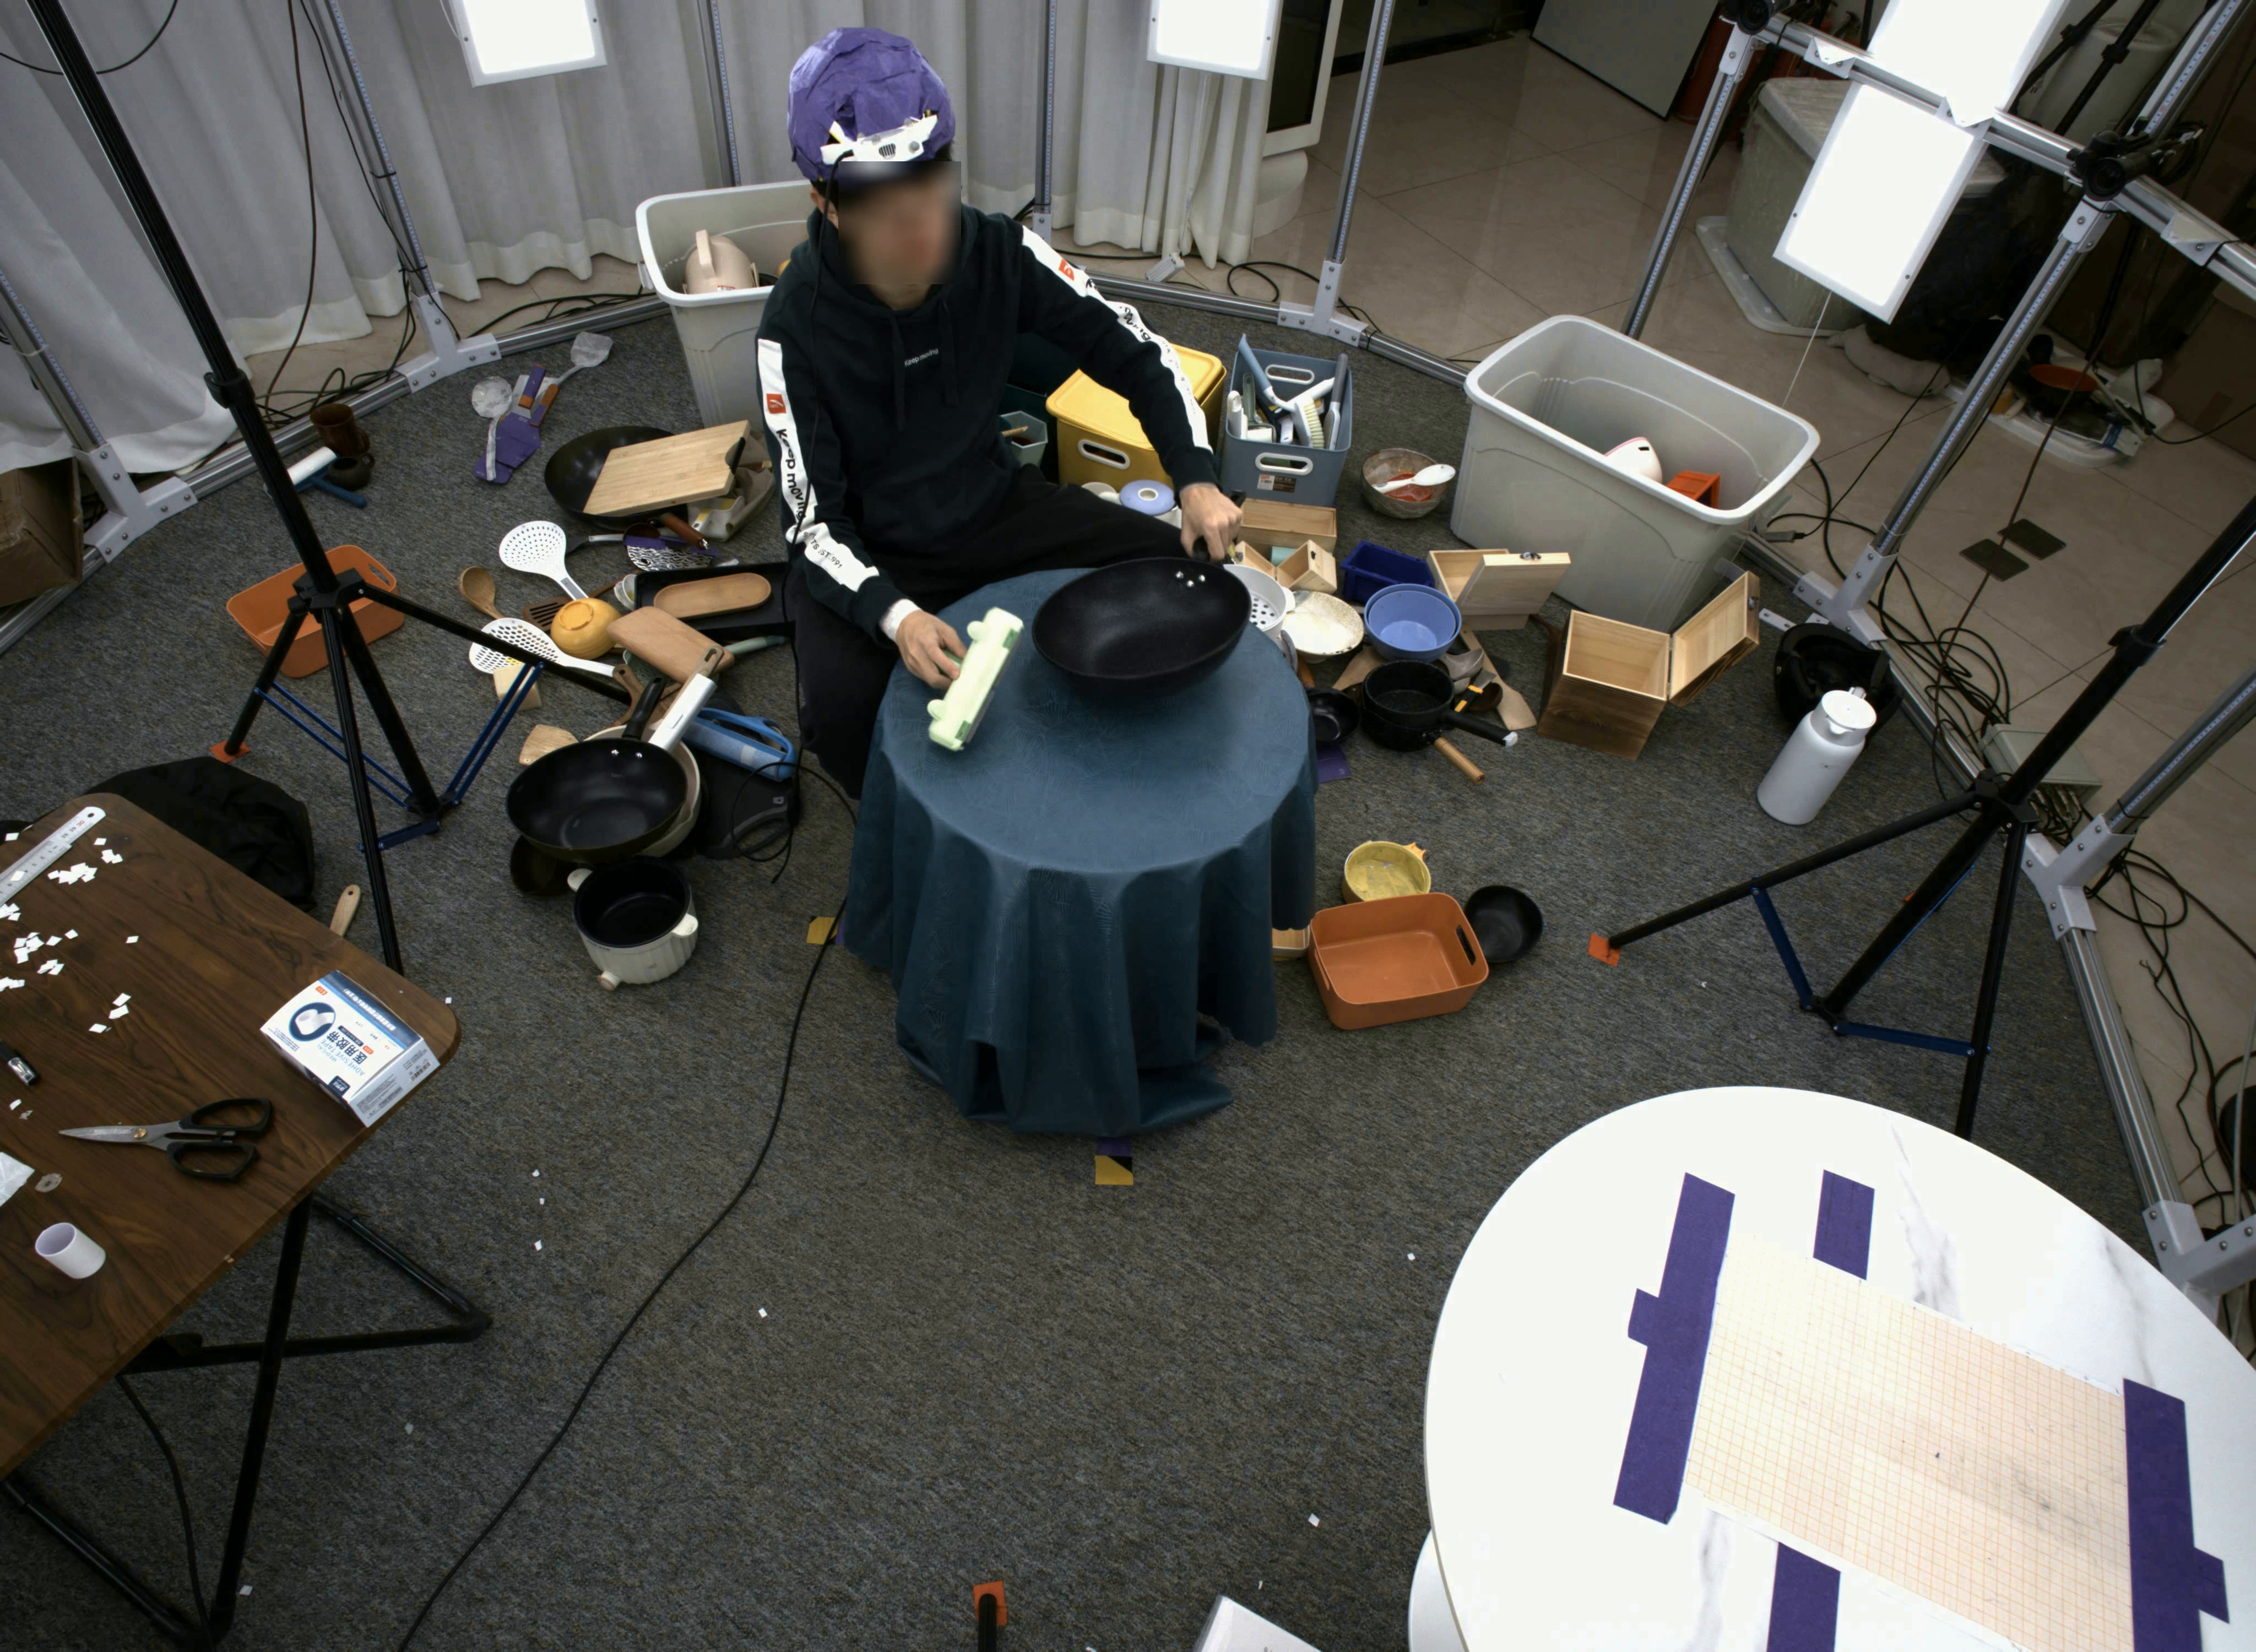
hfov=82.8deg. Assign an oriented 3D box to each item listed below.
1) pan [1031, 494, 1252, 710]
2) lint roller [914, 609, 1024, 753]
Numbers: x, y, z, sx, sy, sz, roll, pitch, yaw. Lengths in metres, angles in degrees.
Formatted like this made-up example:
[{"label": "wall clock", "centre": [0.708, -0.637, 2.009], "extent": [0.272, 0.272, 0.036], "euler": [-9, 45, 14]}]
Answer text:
[{"label": "pan", "centre": [0.062, -0.318, 1.861], "extent": [0.313, 0.109, 0.485], "euler": [16, 47, 26]}, {"label": "lint roller", "centre": [-0.247, -0.218, 1.745], "extent": [0.186, 0.081, 0.198], "euler": [30, 91, 34]}]
